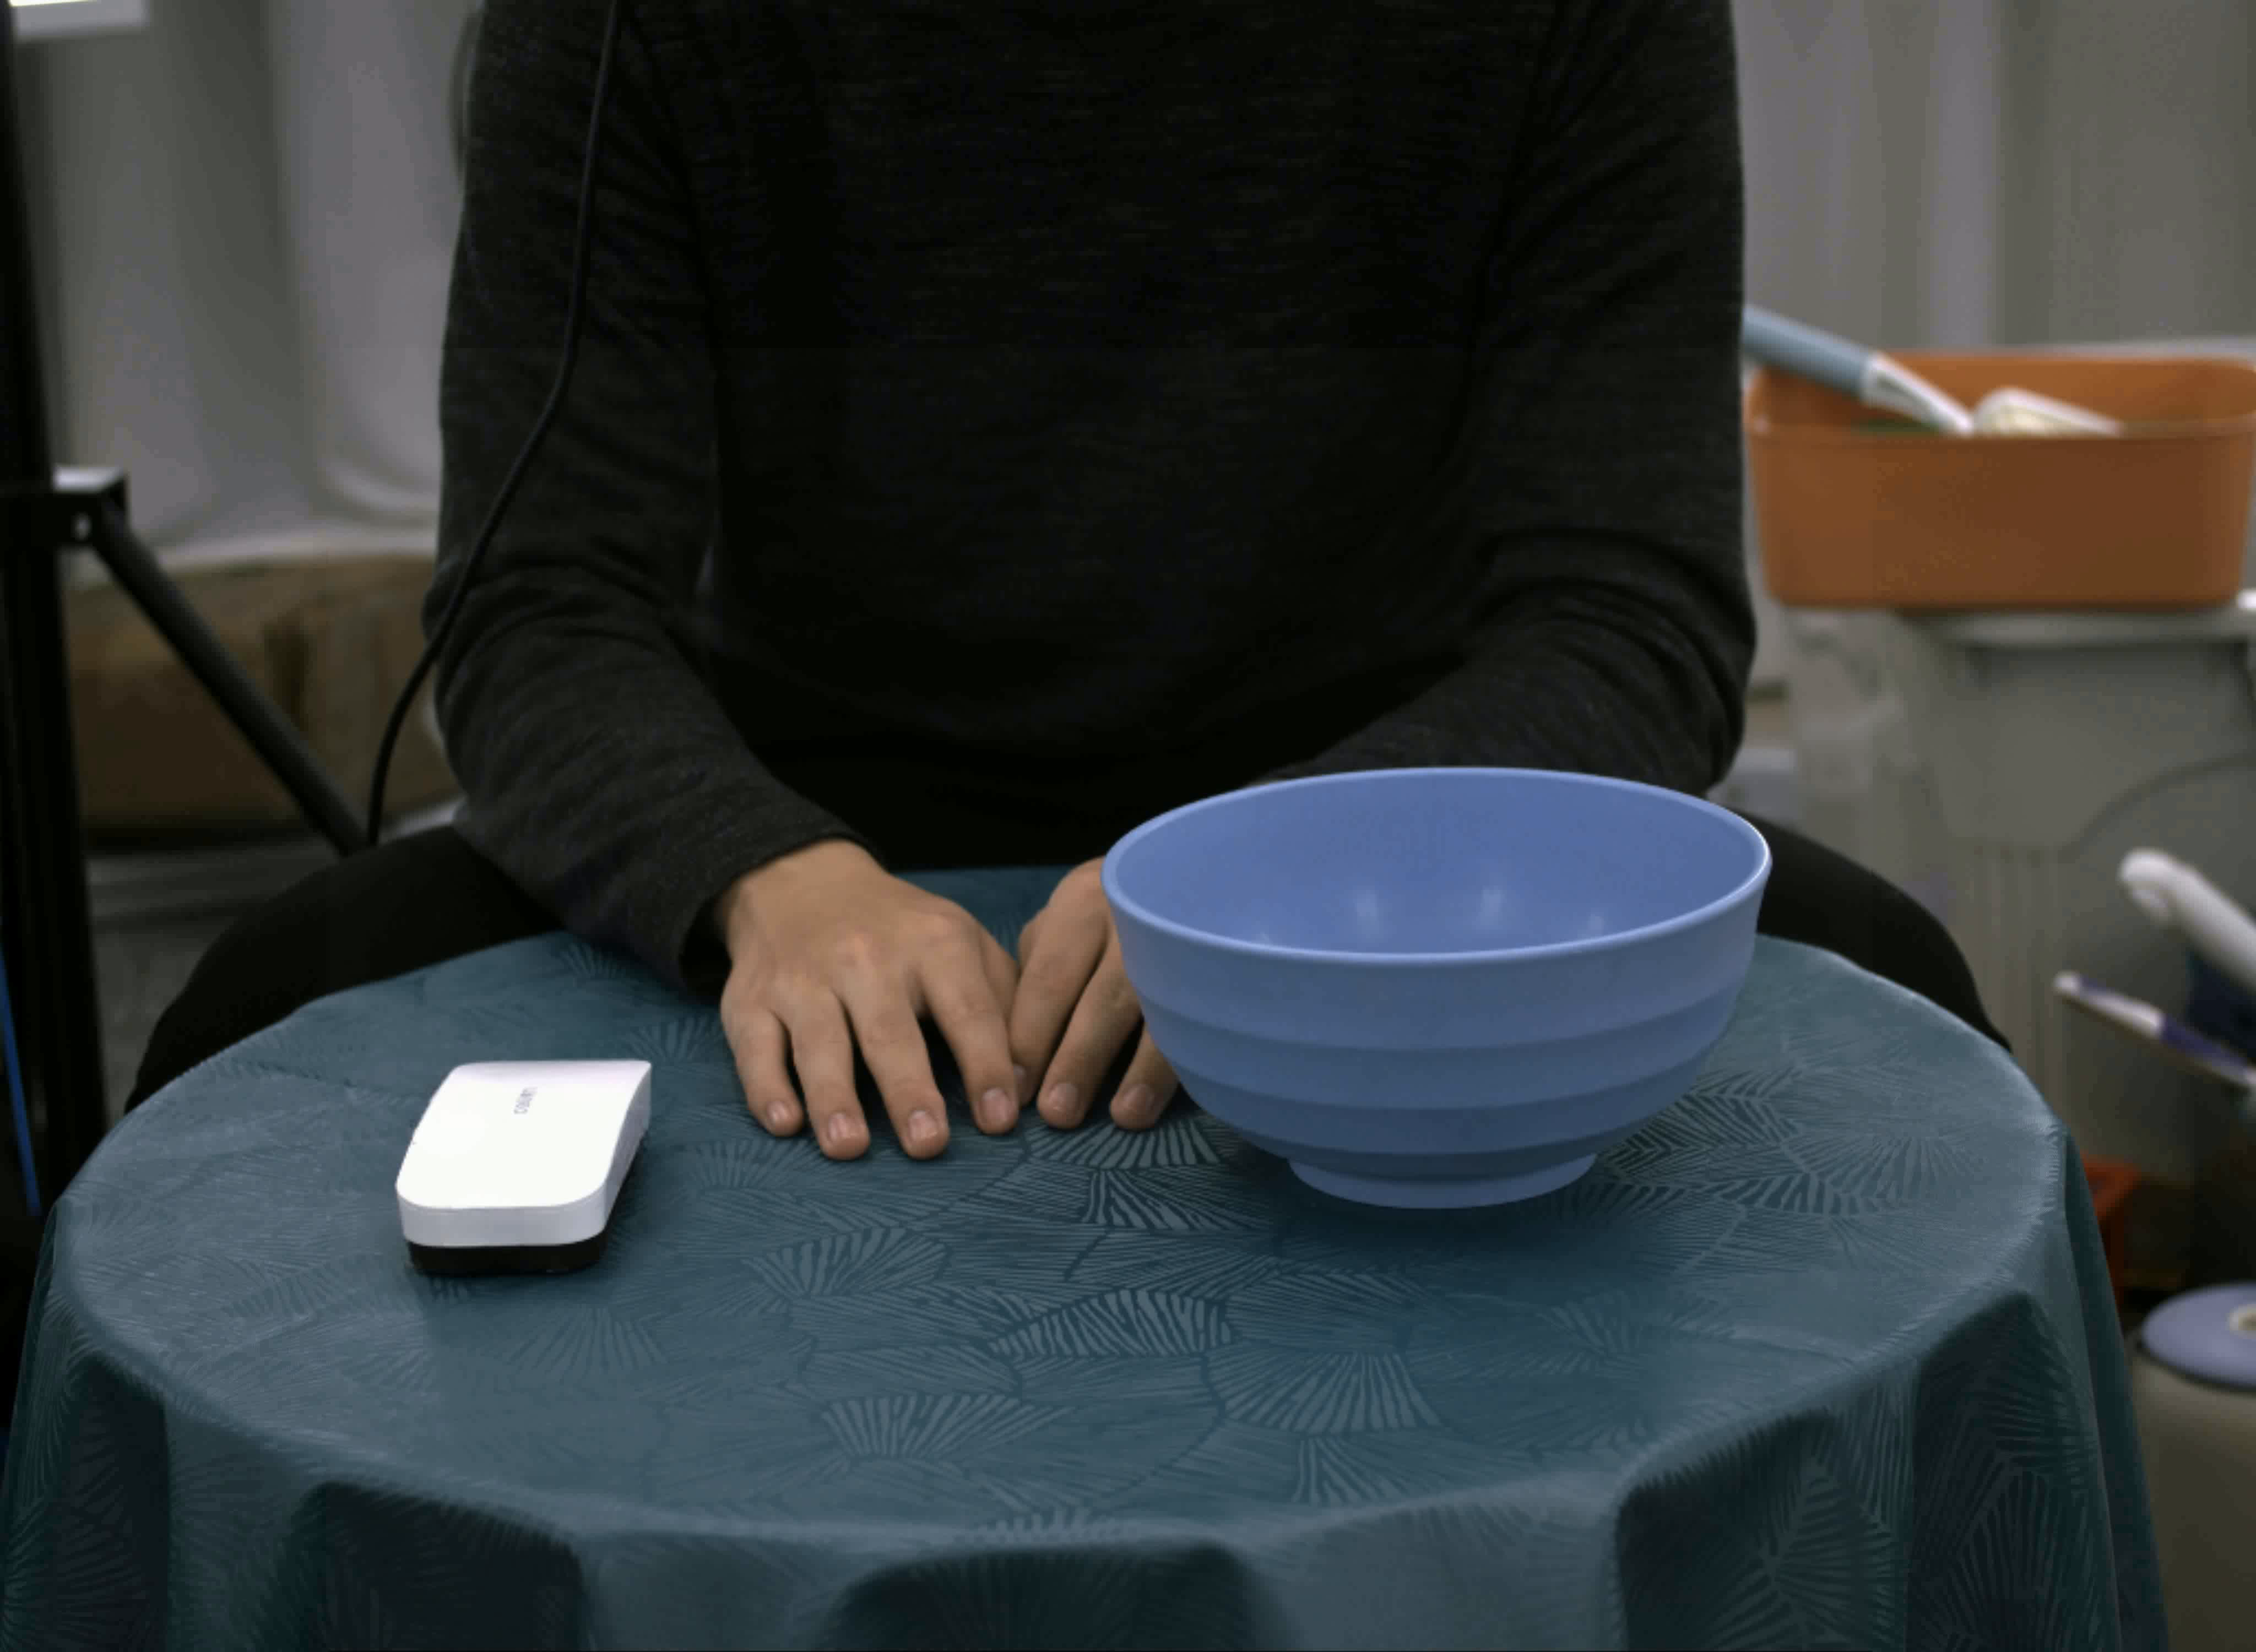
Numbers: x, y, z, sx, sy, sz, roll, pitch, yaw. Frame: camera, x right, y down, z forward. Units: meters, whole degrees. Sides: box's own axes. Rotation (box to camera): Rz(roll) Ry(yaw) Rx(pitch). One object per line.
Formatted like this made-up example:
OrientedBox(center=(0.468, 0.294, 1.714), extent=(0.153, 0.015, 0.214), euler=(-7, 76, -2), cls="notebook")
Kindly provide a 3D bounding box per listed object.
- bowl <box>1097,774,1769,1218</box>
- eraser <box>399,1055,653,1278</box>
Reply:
OrientedBox(center=(0.091, 0.056, 1.560), extent=(0.195, 0.095, 0.197), euler=(-4, 15, 0), cls="bowl")
OrientedBox(center=(-0.175, 0.096, 1.572), extent=(0.063, 0.034, 0.131), euler=(0, 17, 4), cls="eraser")
